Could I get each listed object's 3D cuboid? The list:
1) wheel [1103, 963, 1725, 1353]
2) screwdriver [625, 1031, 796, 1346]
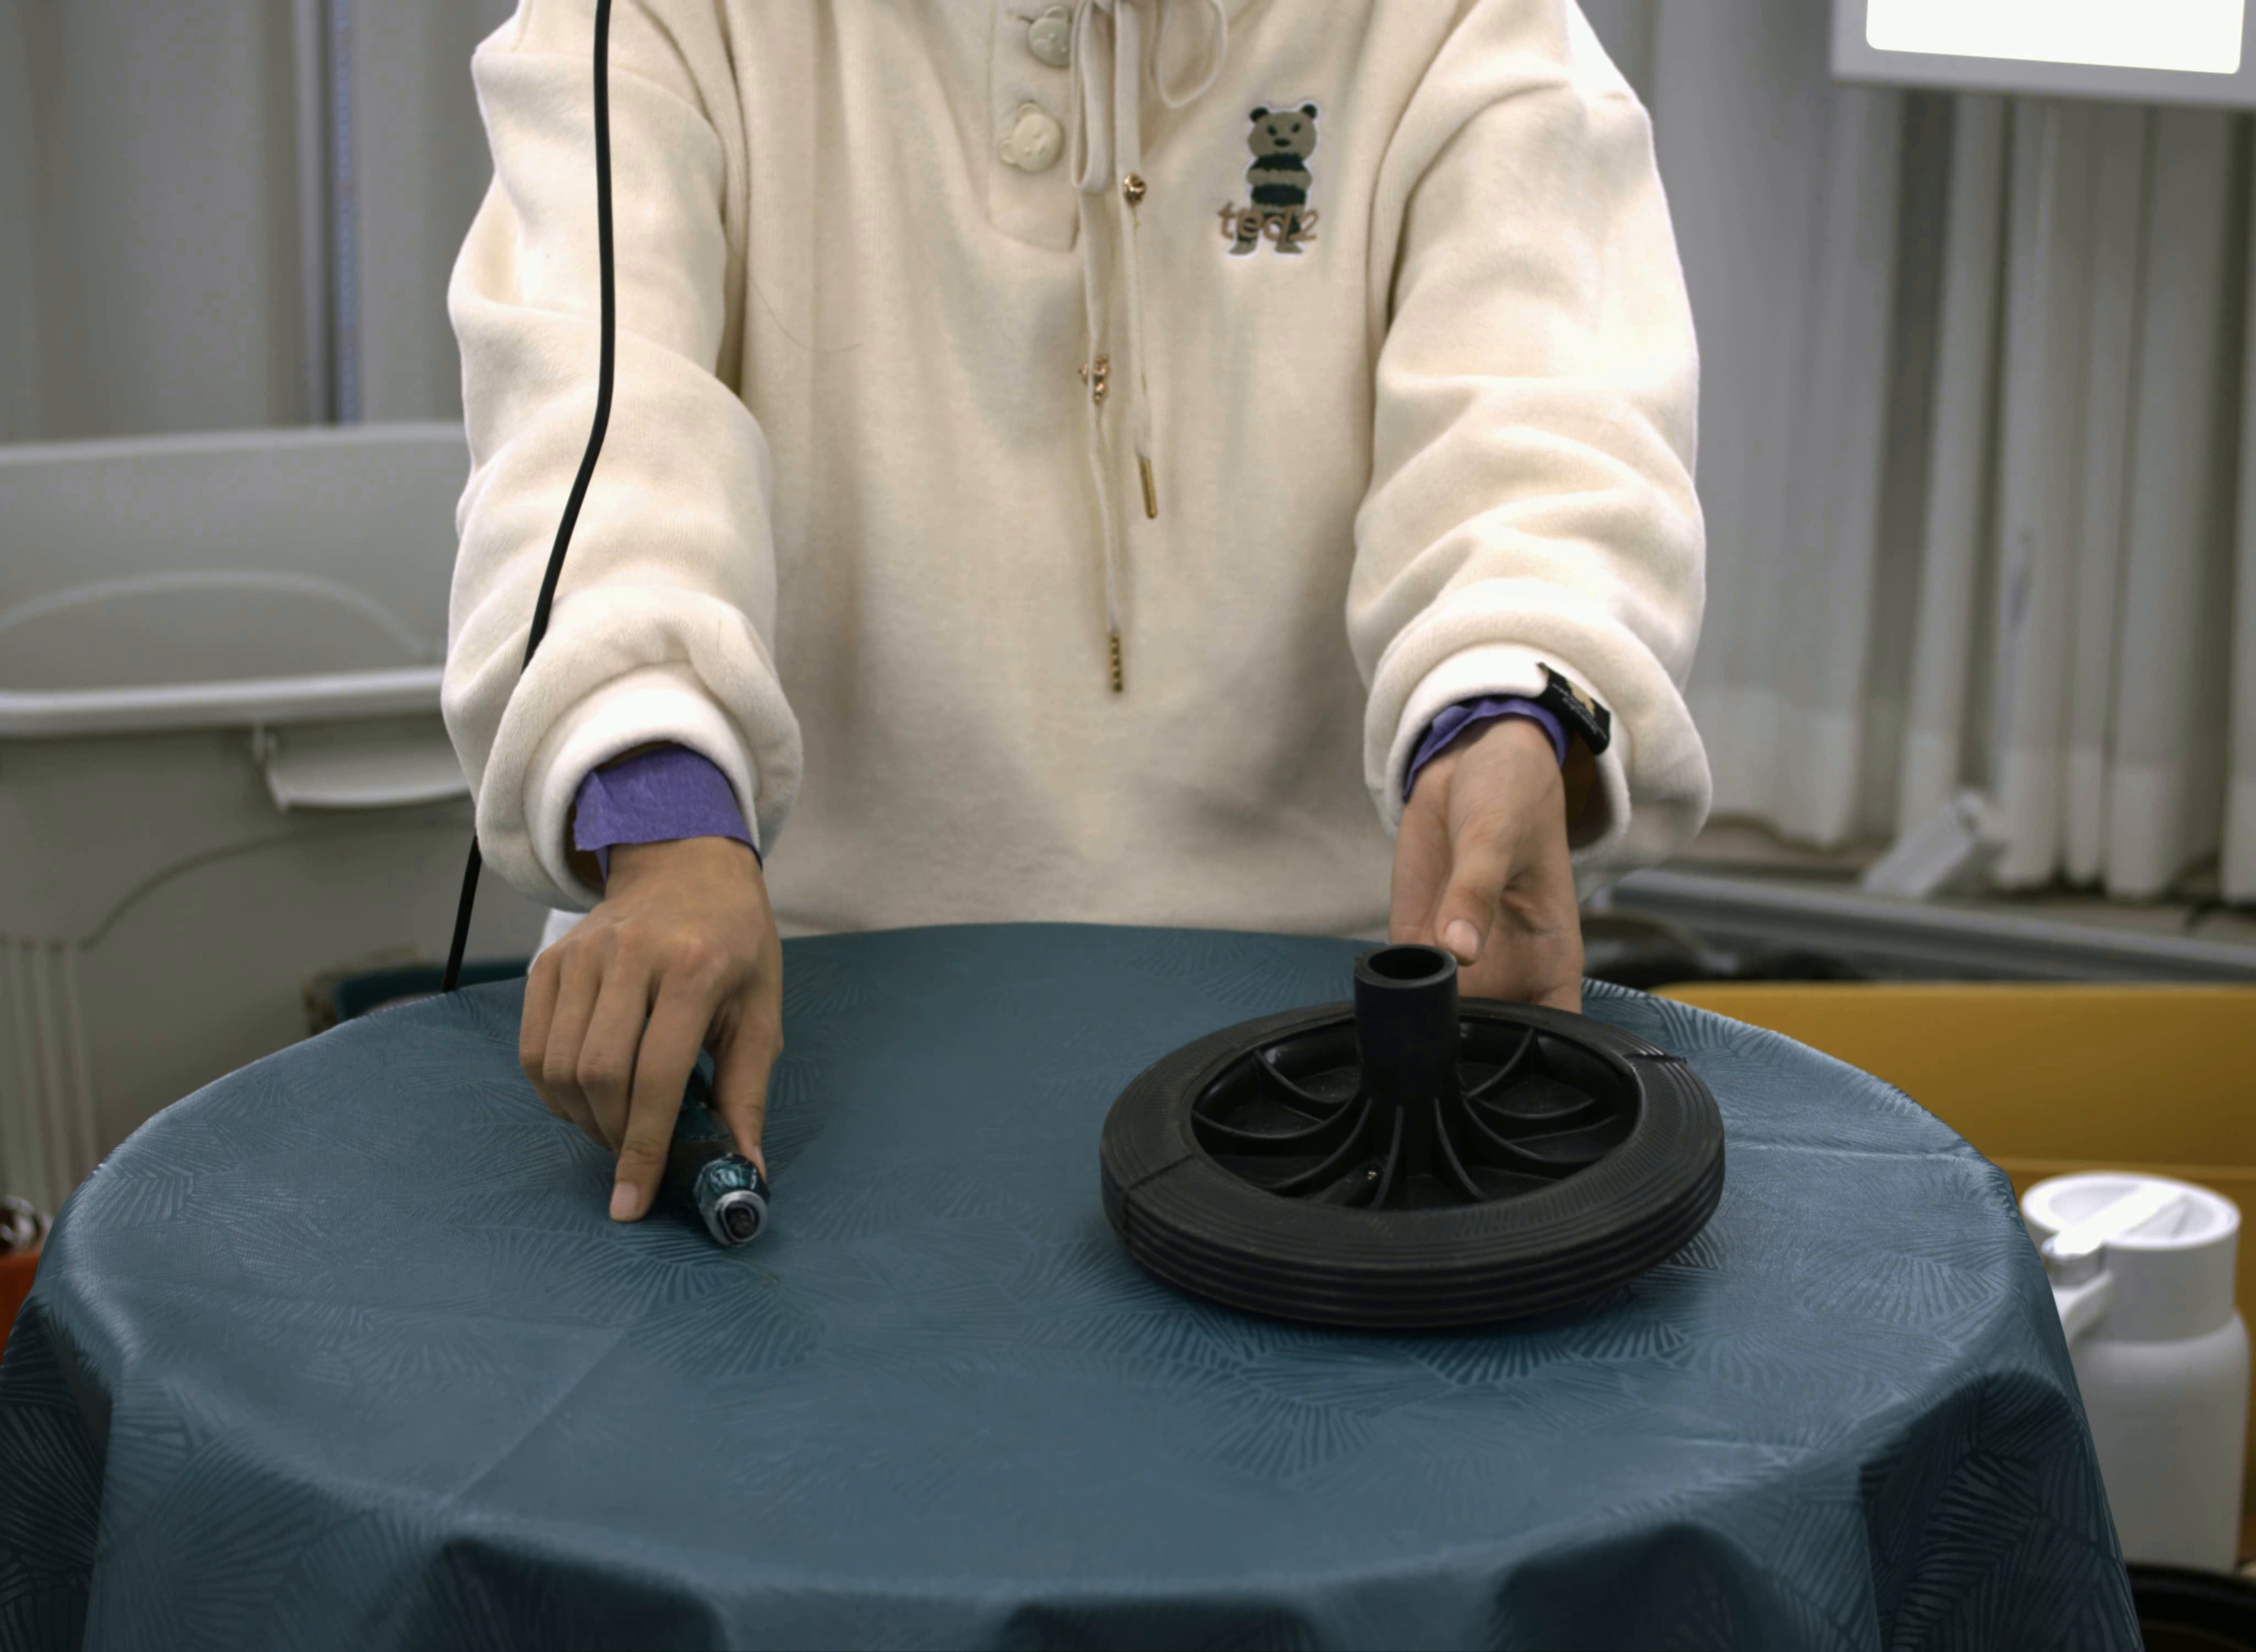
[{"bbox_3d":[0.084,0.083,1.570,0.186,0.080,0.189,3,26,12],"label":"wheel"},{"bbox_3d":[-0.122,0.111,1.577,0.034,0.034,0.188,-4,24,-16],"label":"screwdriver"}]
